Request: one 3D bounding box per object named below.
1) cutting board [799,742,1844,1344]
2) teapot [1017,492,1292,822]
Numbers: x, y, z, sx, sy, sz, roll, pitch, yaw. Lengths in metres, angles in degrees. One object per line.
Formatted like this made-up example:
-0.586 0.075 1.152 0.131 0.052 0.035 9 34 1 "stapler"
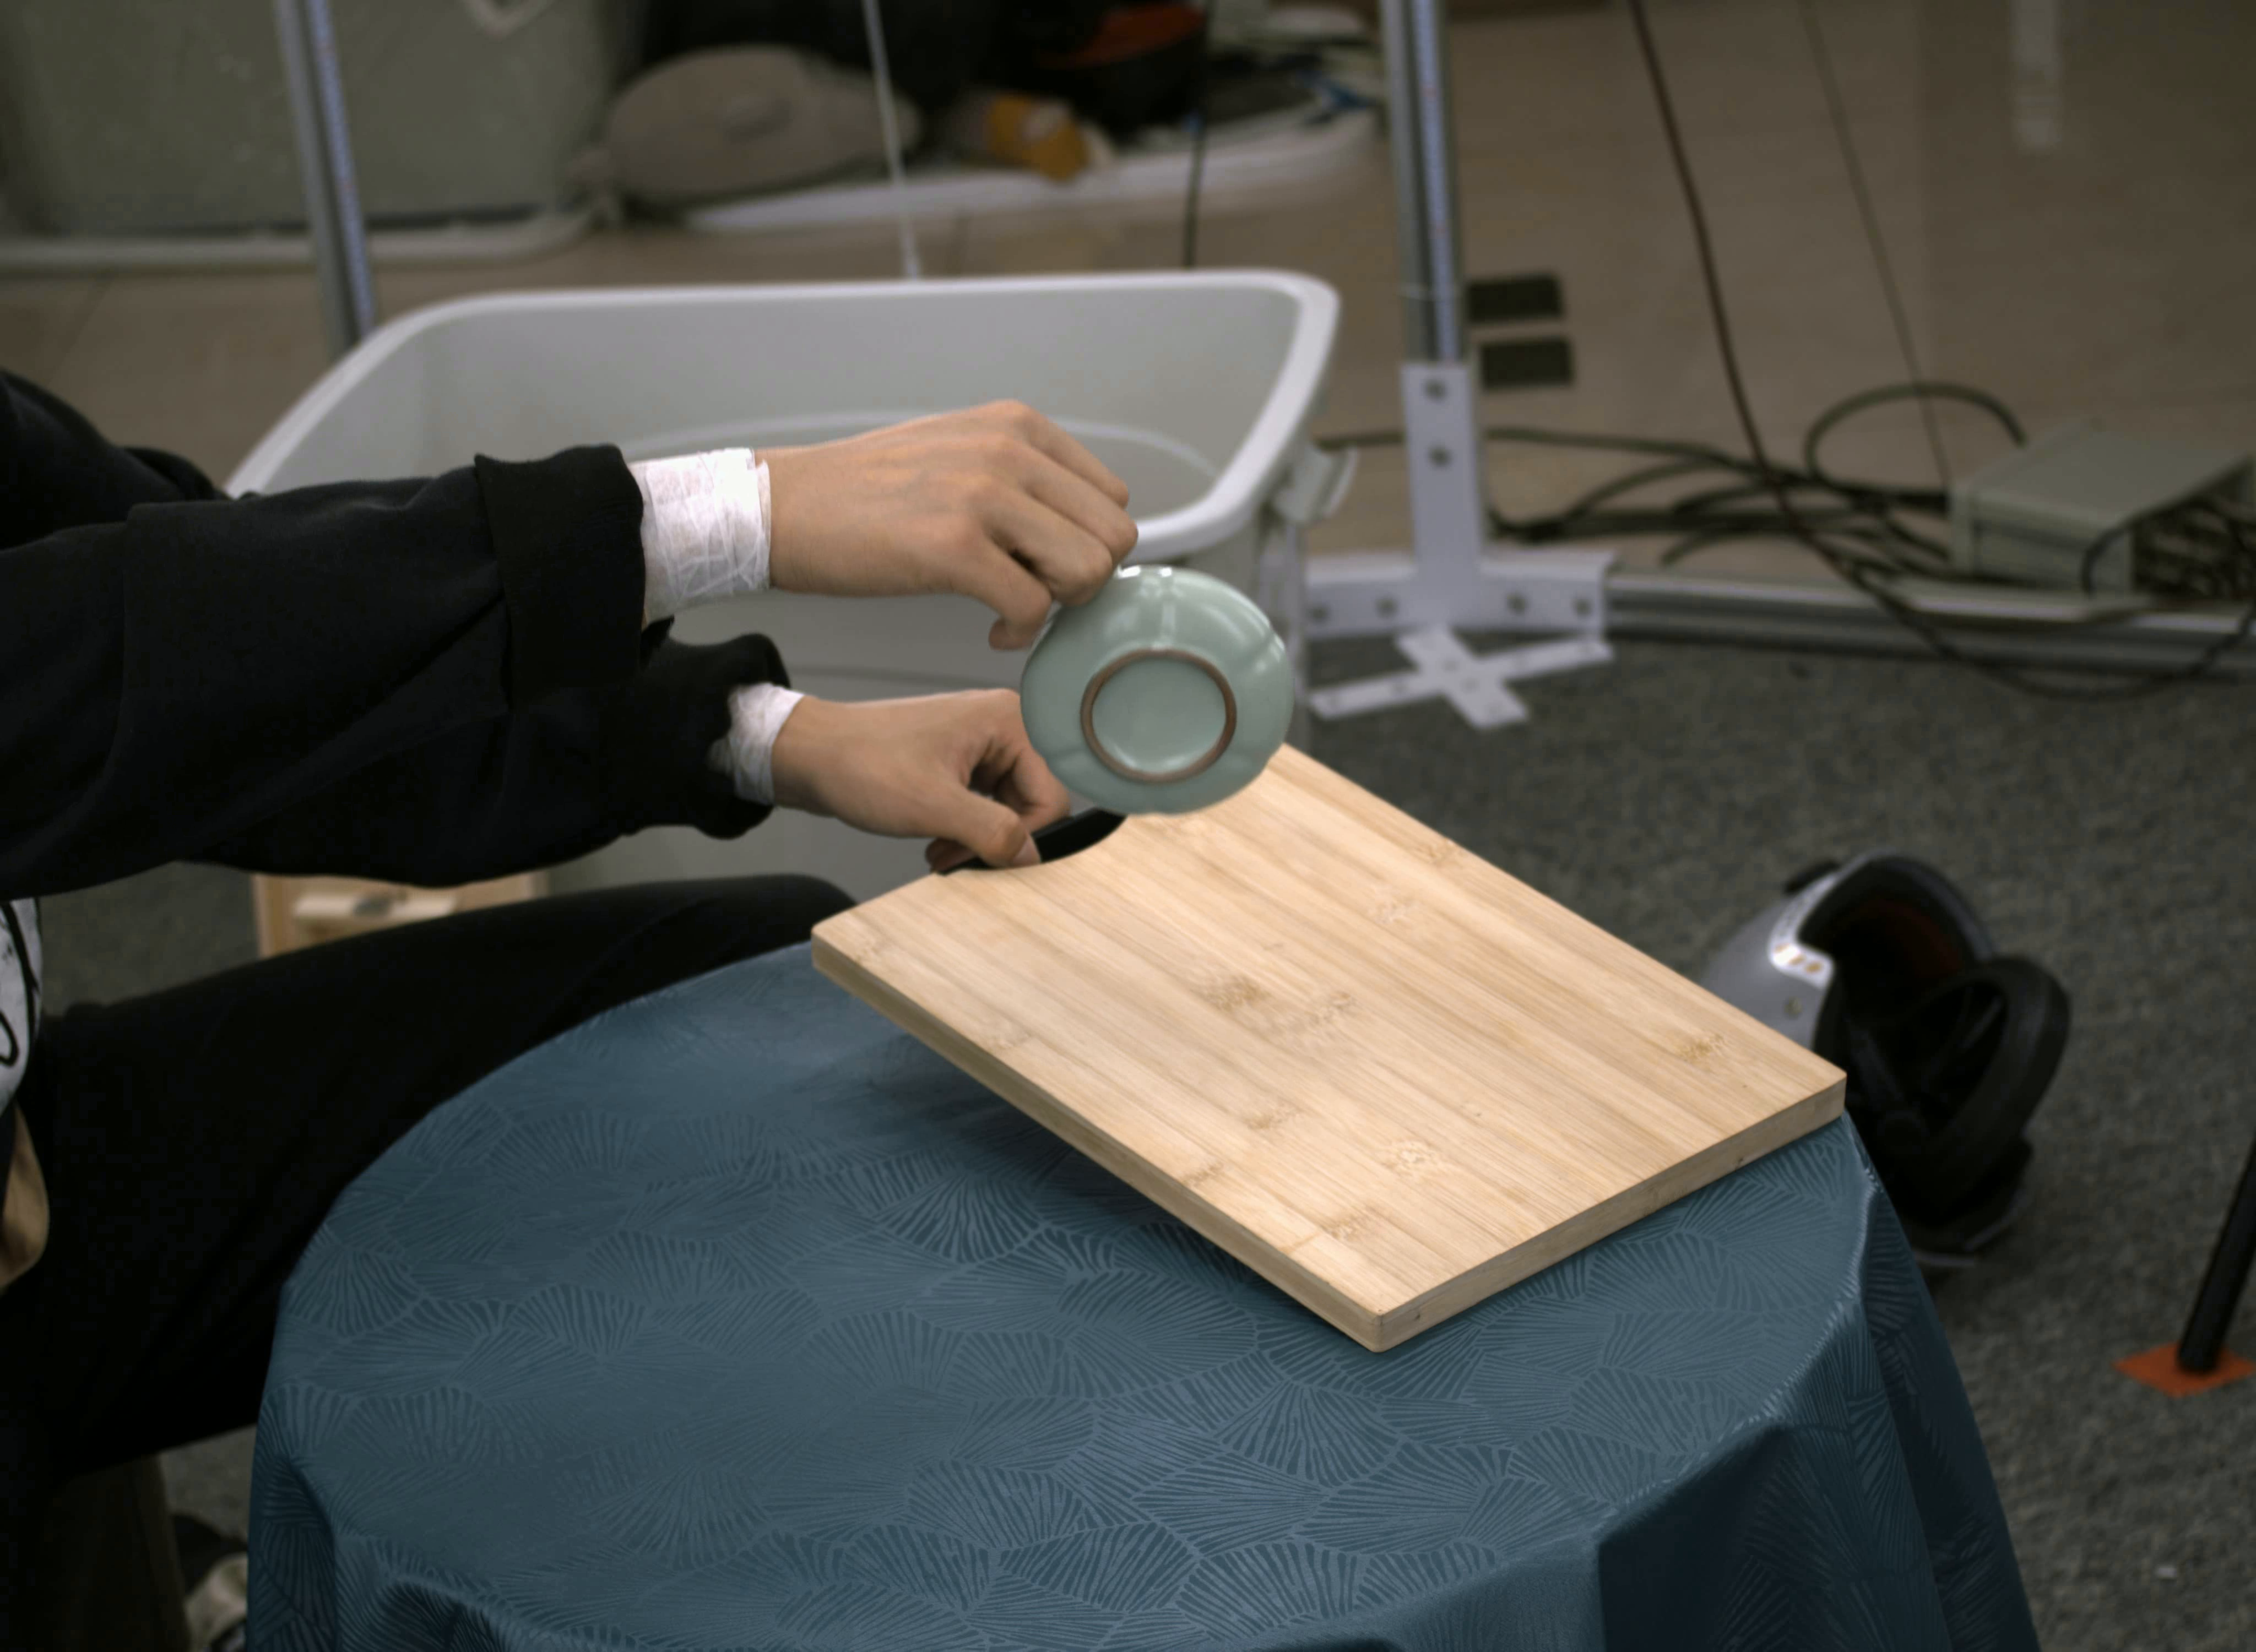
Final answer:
0.070 0.073 2.195 0.249 0.024 0.345 -24 39 -34 "cutting board"
0.008 -0.054 2.002 0.096 0.139 0.060 -21 28 13 "teapot"
